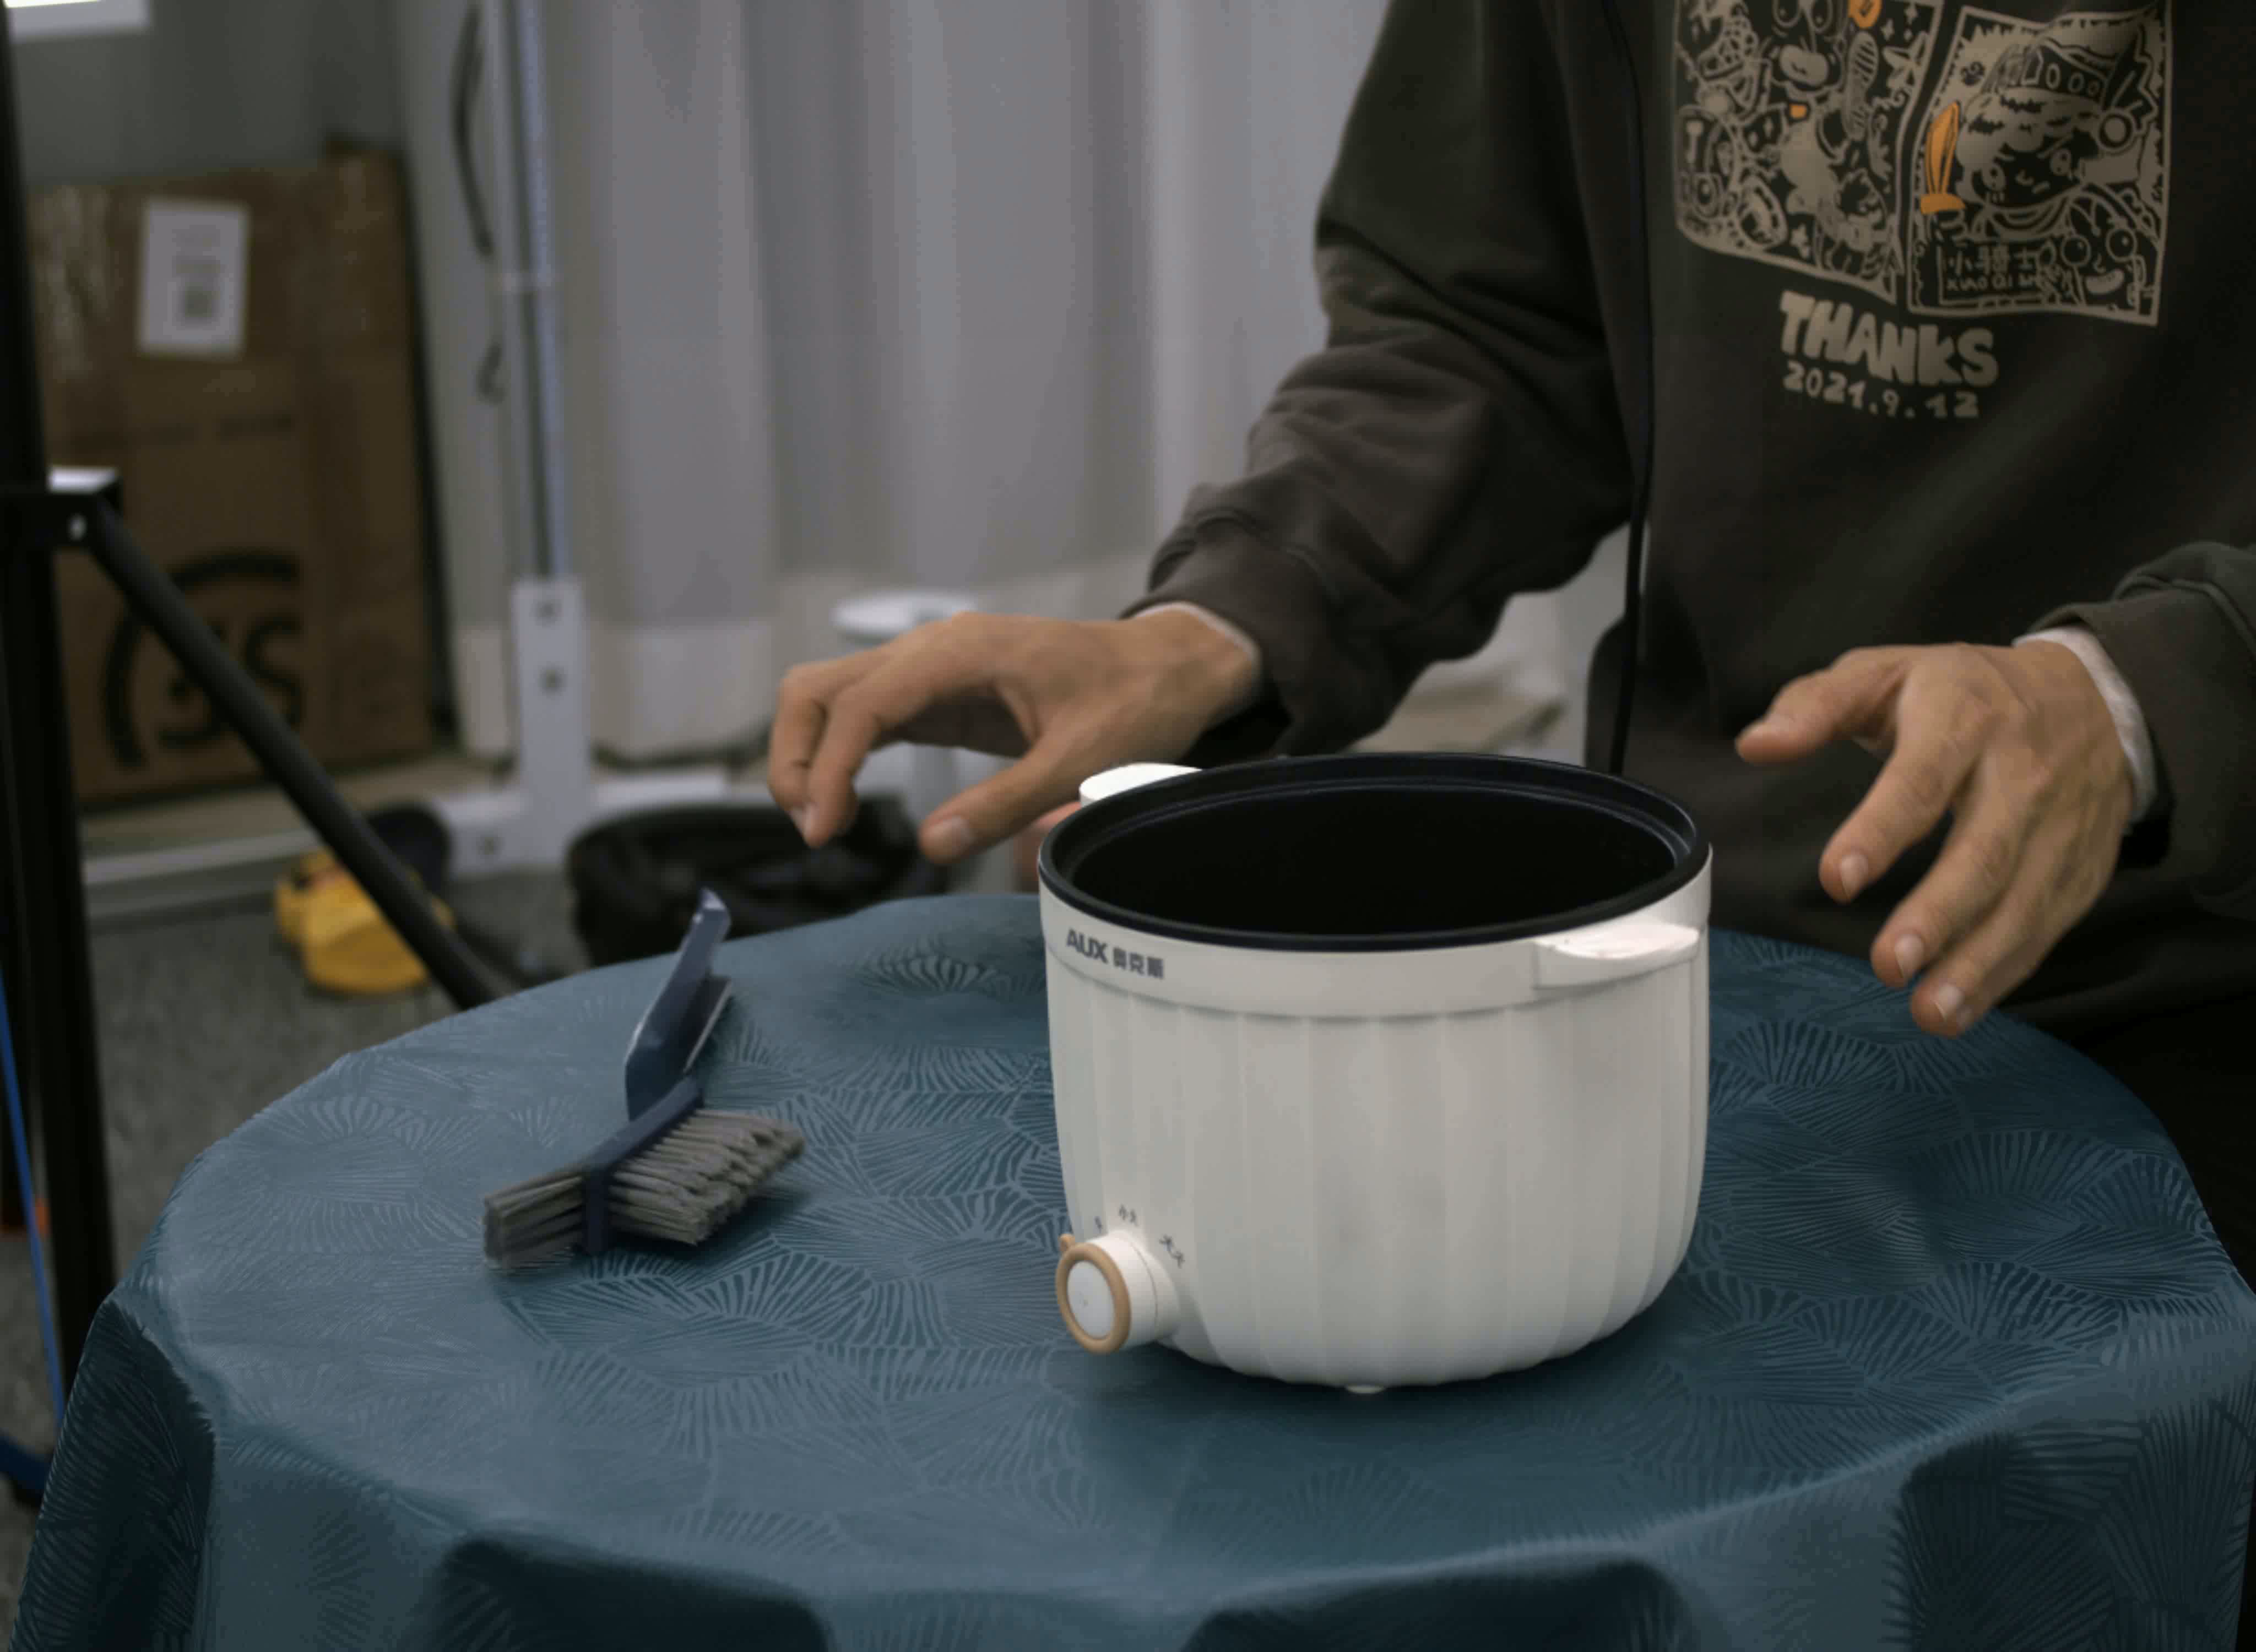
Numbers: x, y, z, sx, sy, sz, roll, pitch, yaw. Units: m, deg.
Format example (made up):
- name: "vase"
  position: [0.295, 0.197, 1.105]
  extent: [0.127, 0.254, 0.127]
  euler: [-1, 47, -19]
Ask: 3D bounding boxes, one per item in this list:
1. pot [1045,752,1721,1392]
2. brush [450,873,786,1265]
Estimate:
- name: "pot"
  position: [0.065, 0.068, 1.435]
  extent: [0.186, 0.143, 0.246]
  euler: [-9, 15, -35]
- name: "brush"
  position: [-0.151, 0.072, 1.649]
  extent: [0.095, 0.033, 0.274]
  euler: [0, 18, -2]
